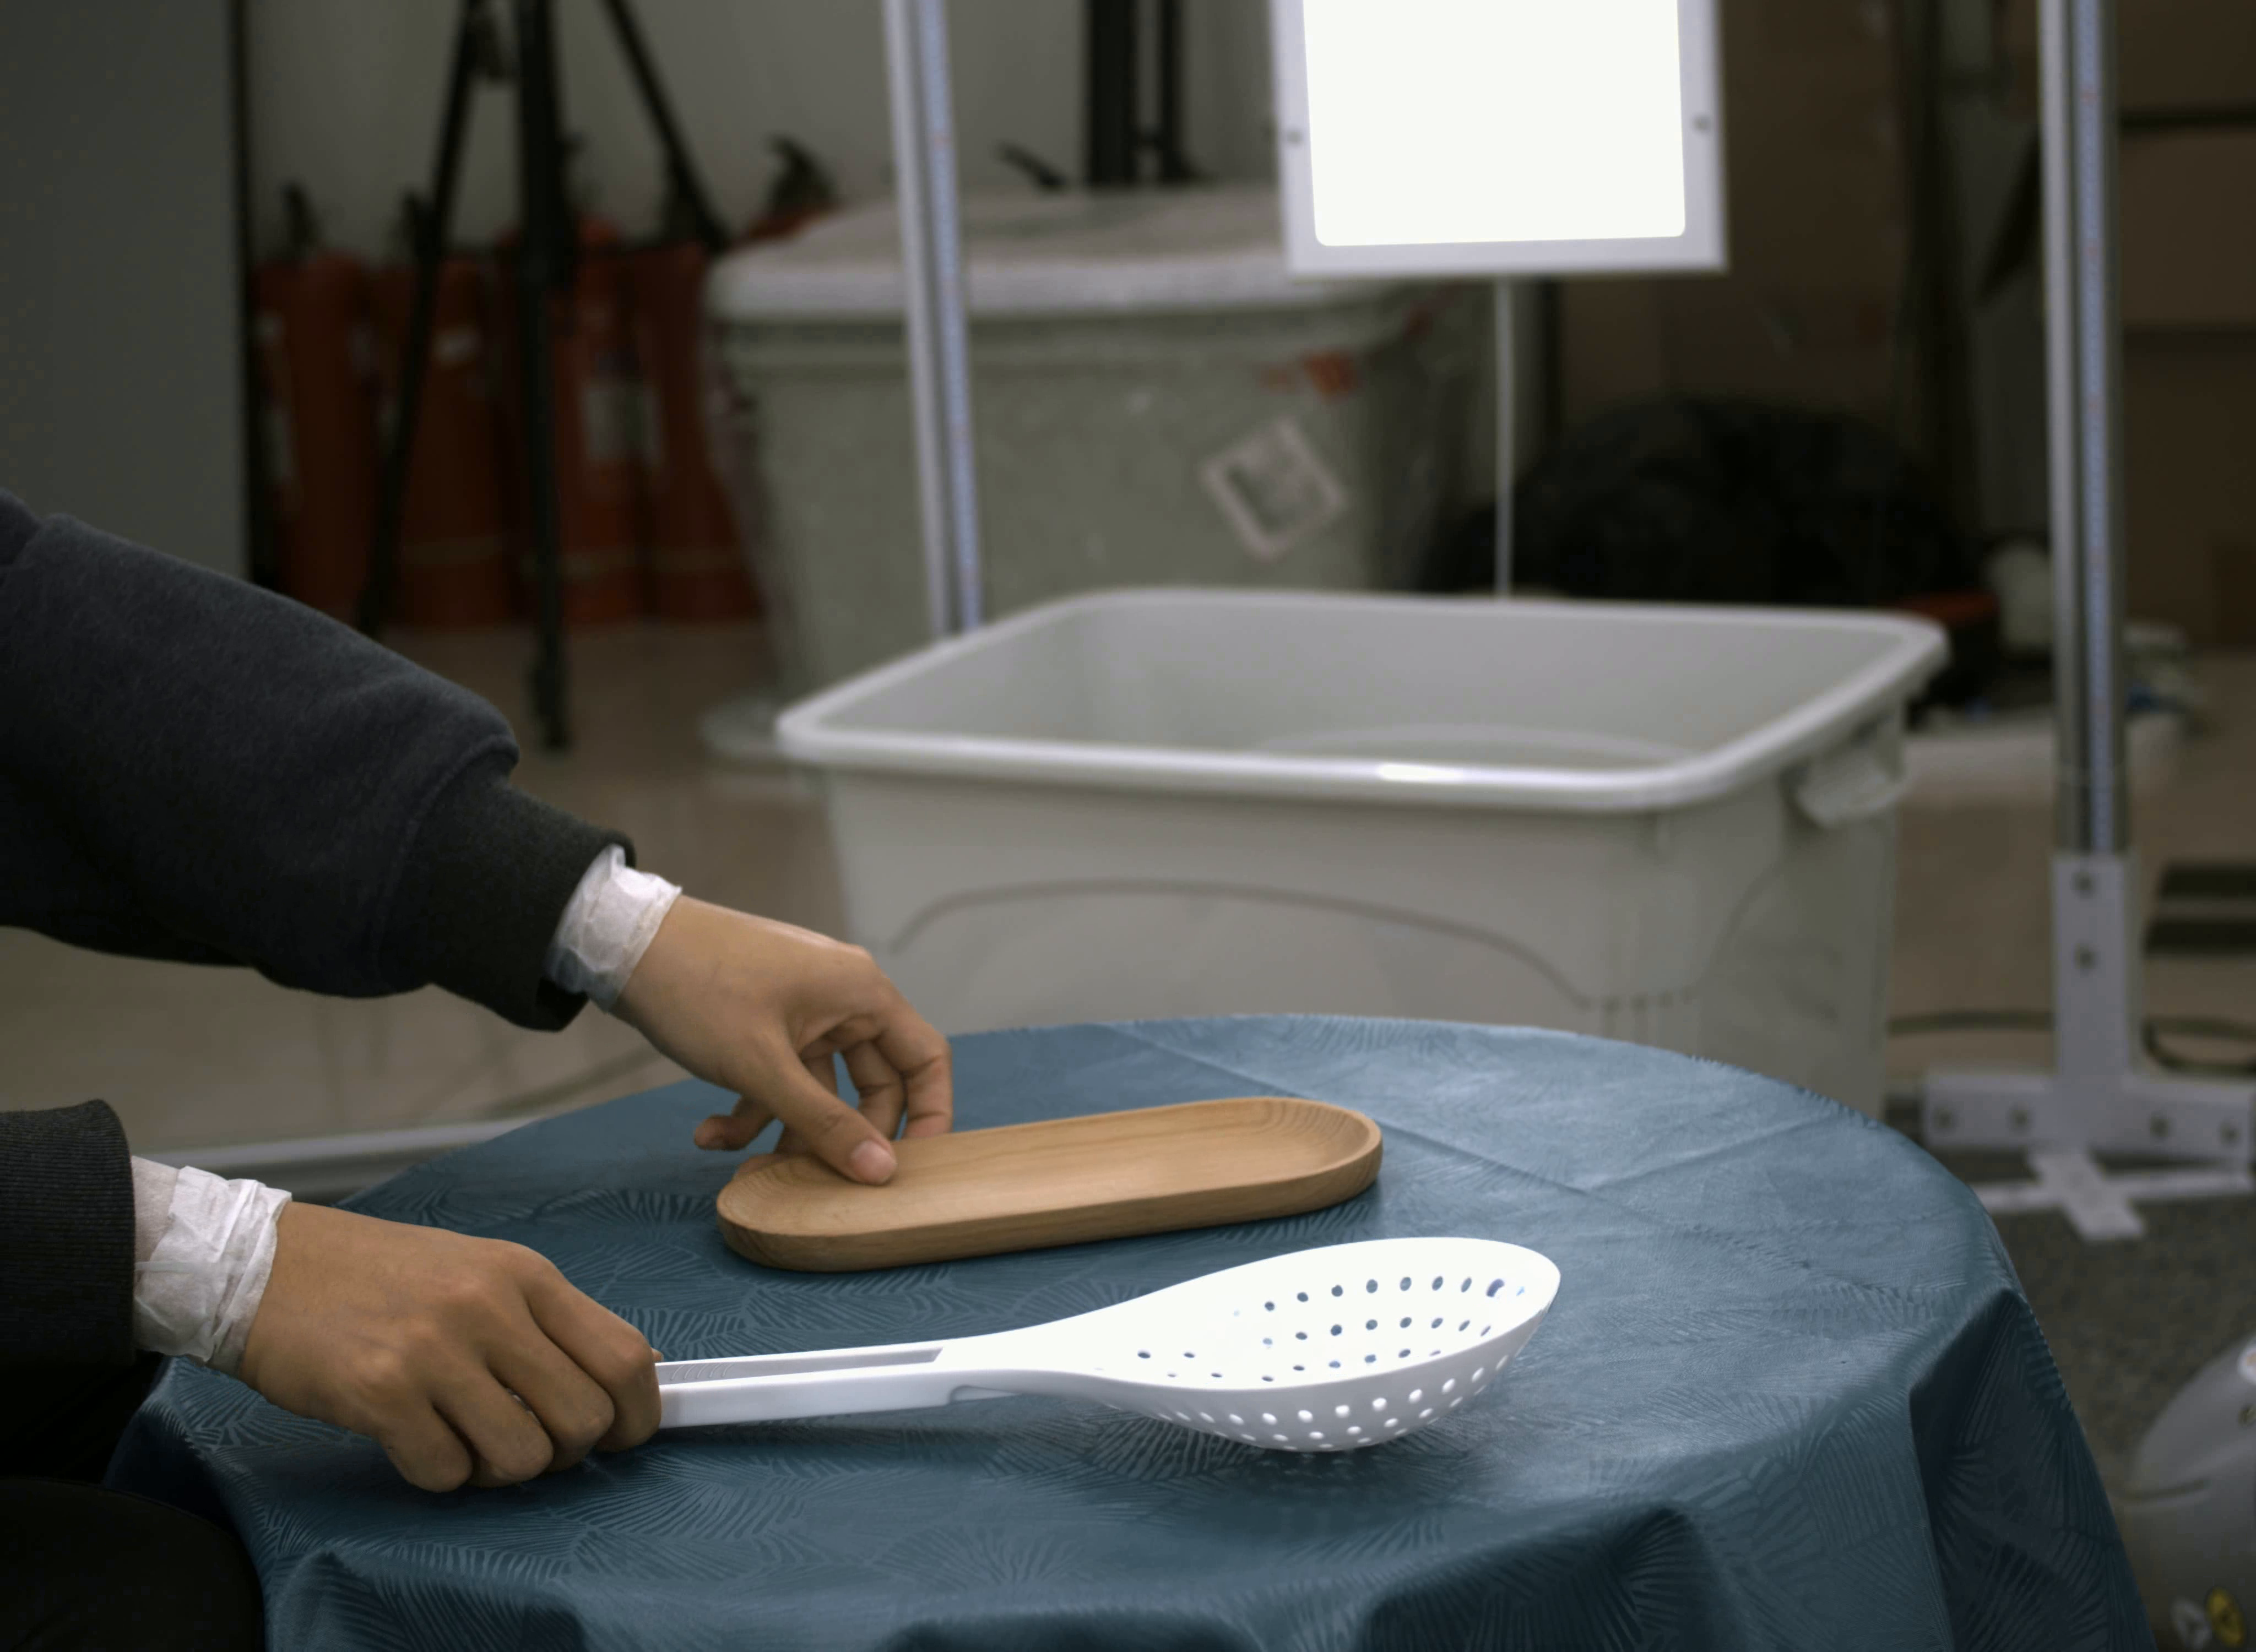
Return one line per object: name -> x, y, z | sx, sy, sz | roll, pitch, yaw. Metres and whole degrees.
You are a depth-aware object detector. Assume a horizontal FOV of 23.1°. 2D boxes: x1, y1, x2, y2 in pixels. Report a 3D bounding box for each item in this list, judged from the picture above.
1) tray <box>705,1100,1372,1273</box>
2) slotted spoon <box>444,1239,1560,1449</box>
tray -> -0.030, 0.124, 1.885 | 0.229, 0.020, 0.102 | -8, 13, -6
slotted spoon -> -0.041, 0.163, 1.666 | 0.353, 0.046, 0.134 | -2, 12, 15
